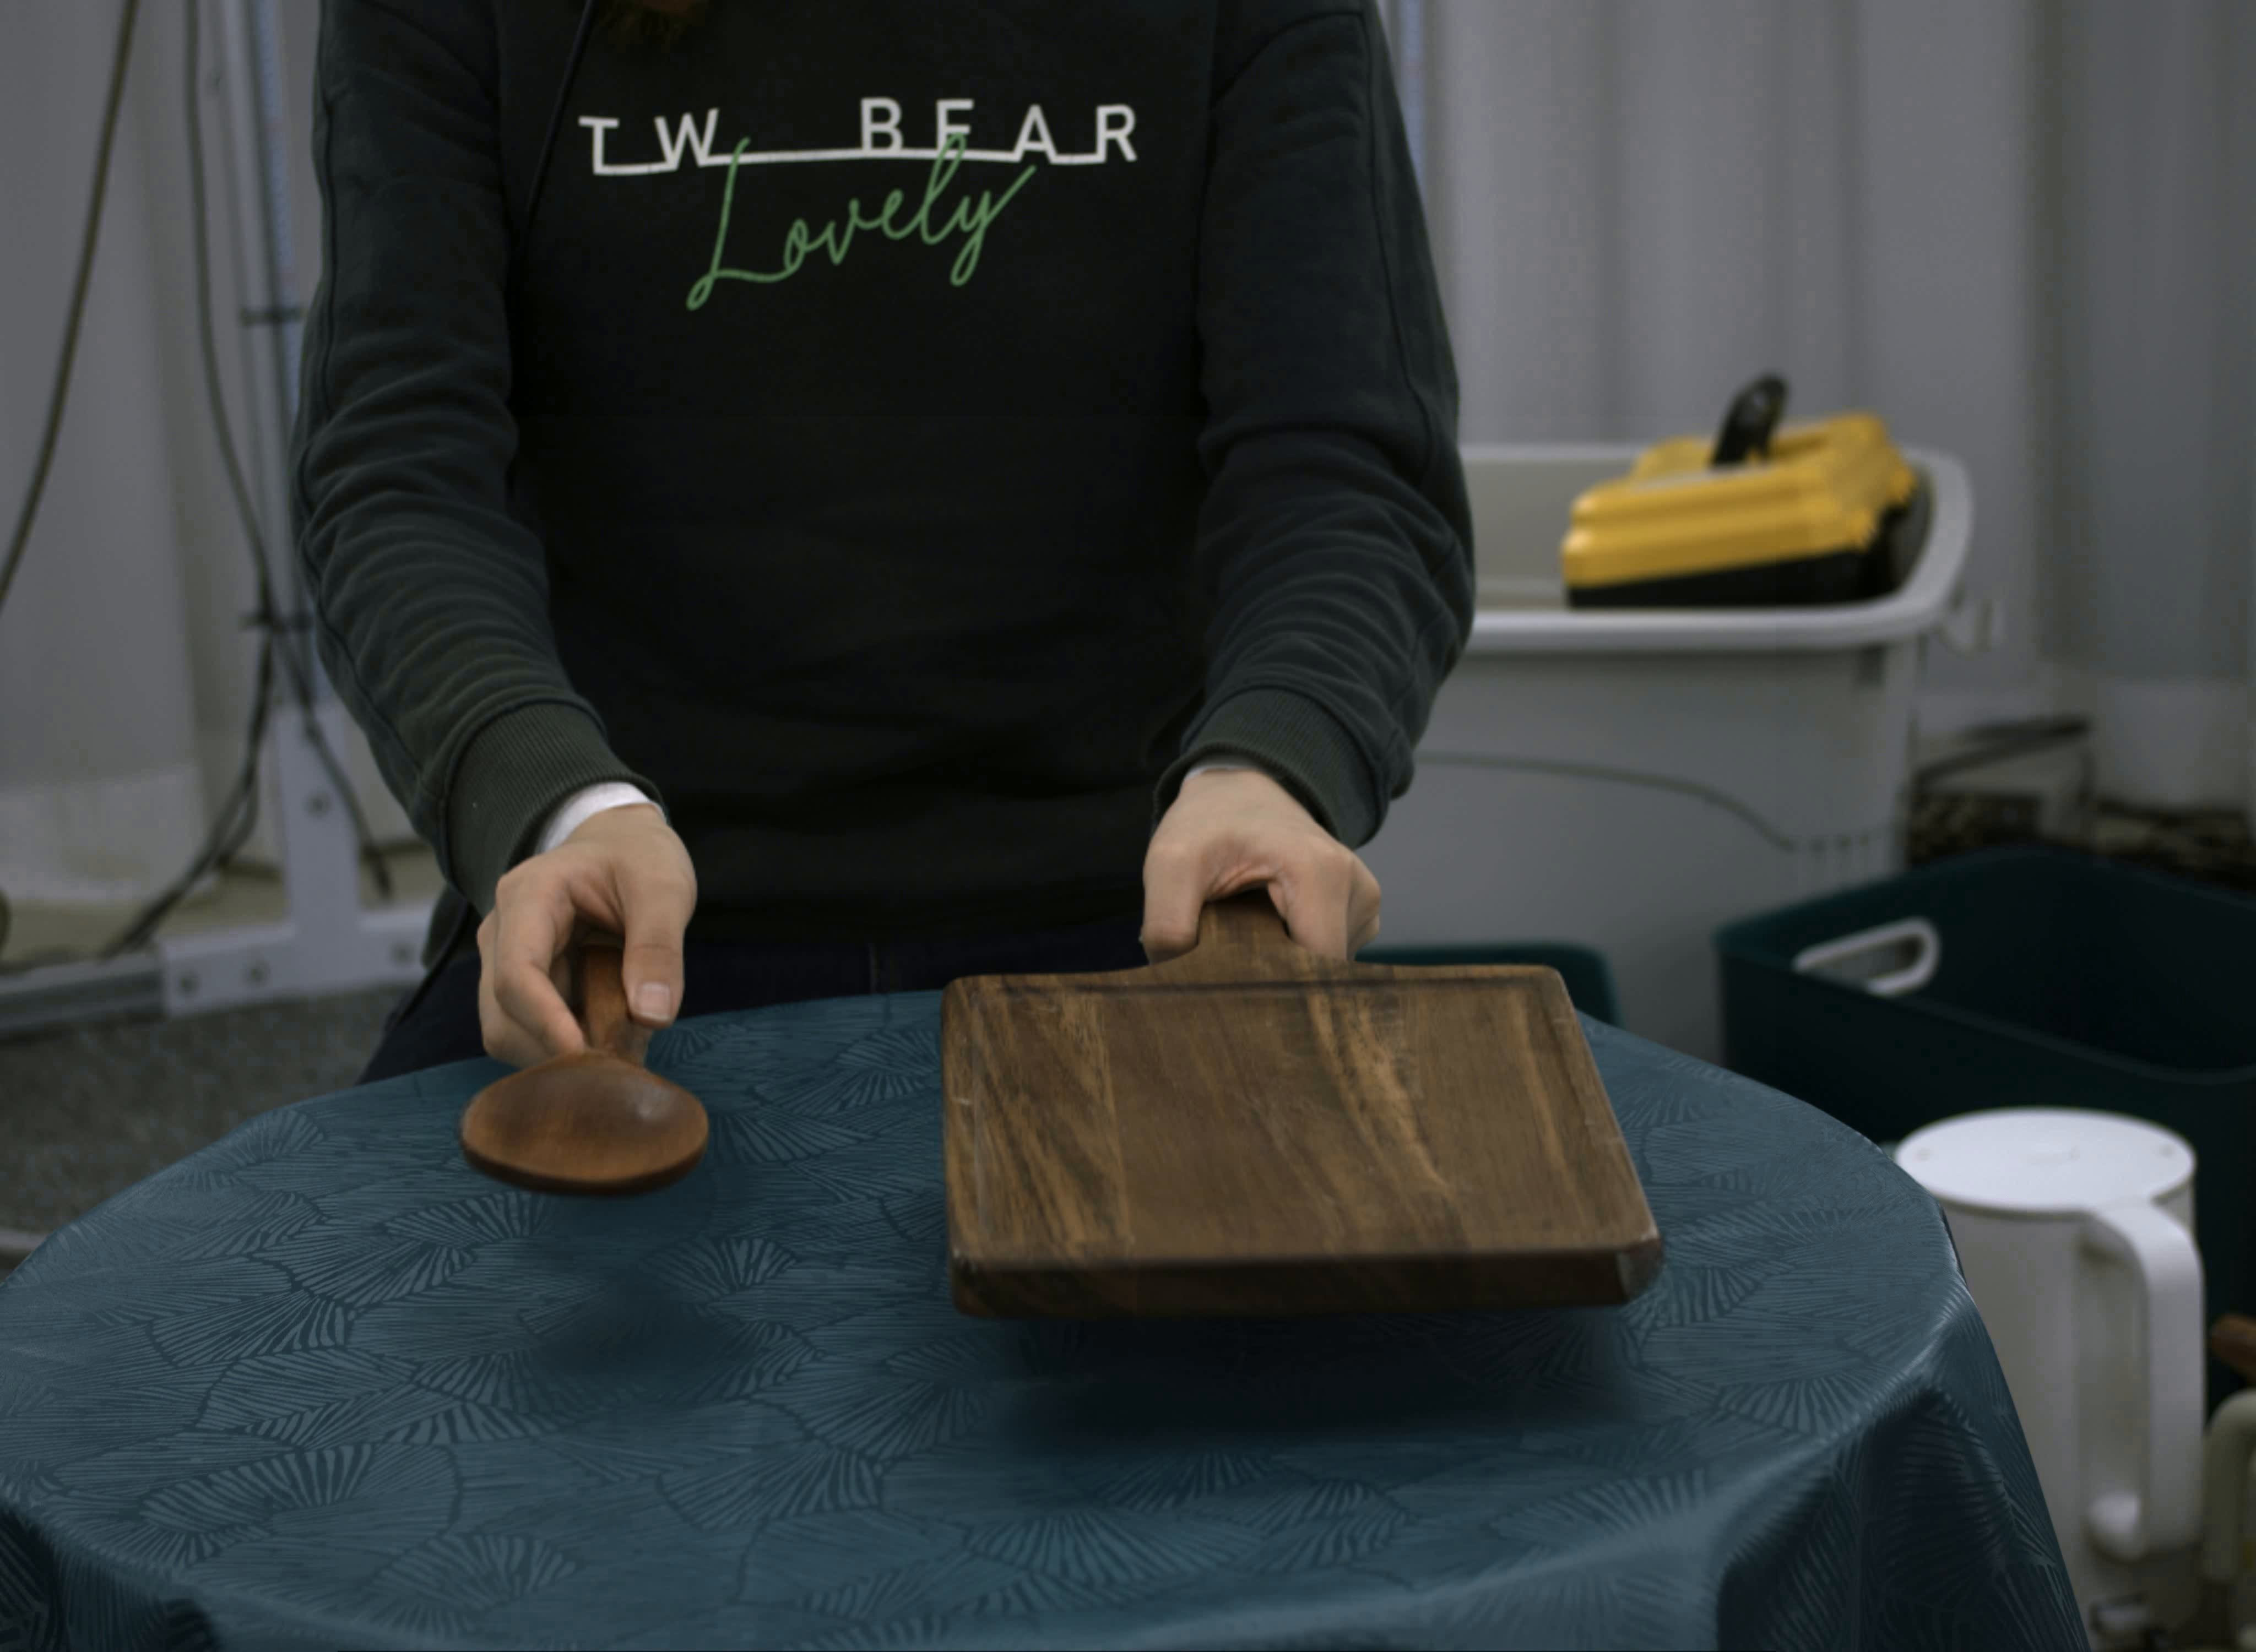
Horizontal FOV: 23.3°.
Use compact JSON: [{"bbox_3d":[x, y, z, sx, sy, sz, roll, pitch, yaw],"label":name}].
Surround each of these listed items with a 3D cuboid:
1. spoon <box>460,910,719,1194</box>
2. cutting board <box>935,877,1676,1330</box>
[{"bbox_3d":[-0.159,0.070,1.657,0.075,0.017,0.218,0,19,-2],"label":"spoon"},{"bbox_3d":[0.043,0.076,1.650,0.200,0.023,0.355,-2,16,-2],"label":"cutting board"}]
